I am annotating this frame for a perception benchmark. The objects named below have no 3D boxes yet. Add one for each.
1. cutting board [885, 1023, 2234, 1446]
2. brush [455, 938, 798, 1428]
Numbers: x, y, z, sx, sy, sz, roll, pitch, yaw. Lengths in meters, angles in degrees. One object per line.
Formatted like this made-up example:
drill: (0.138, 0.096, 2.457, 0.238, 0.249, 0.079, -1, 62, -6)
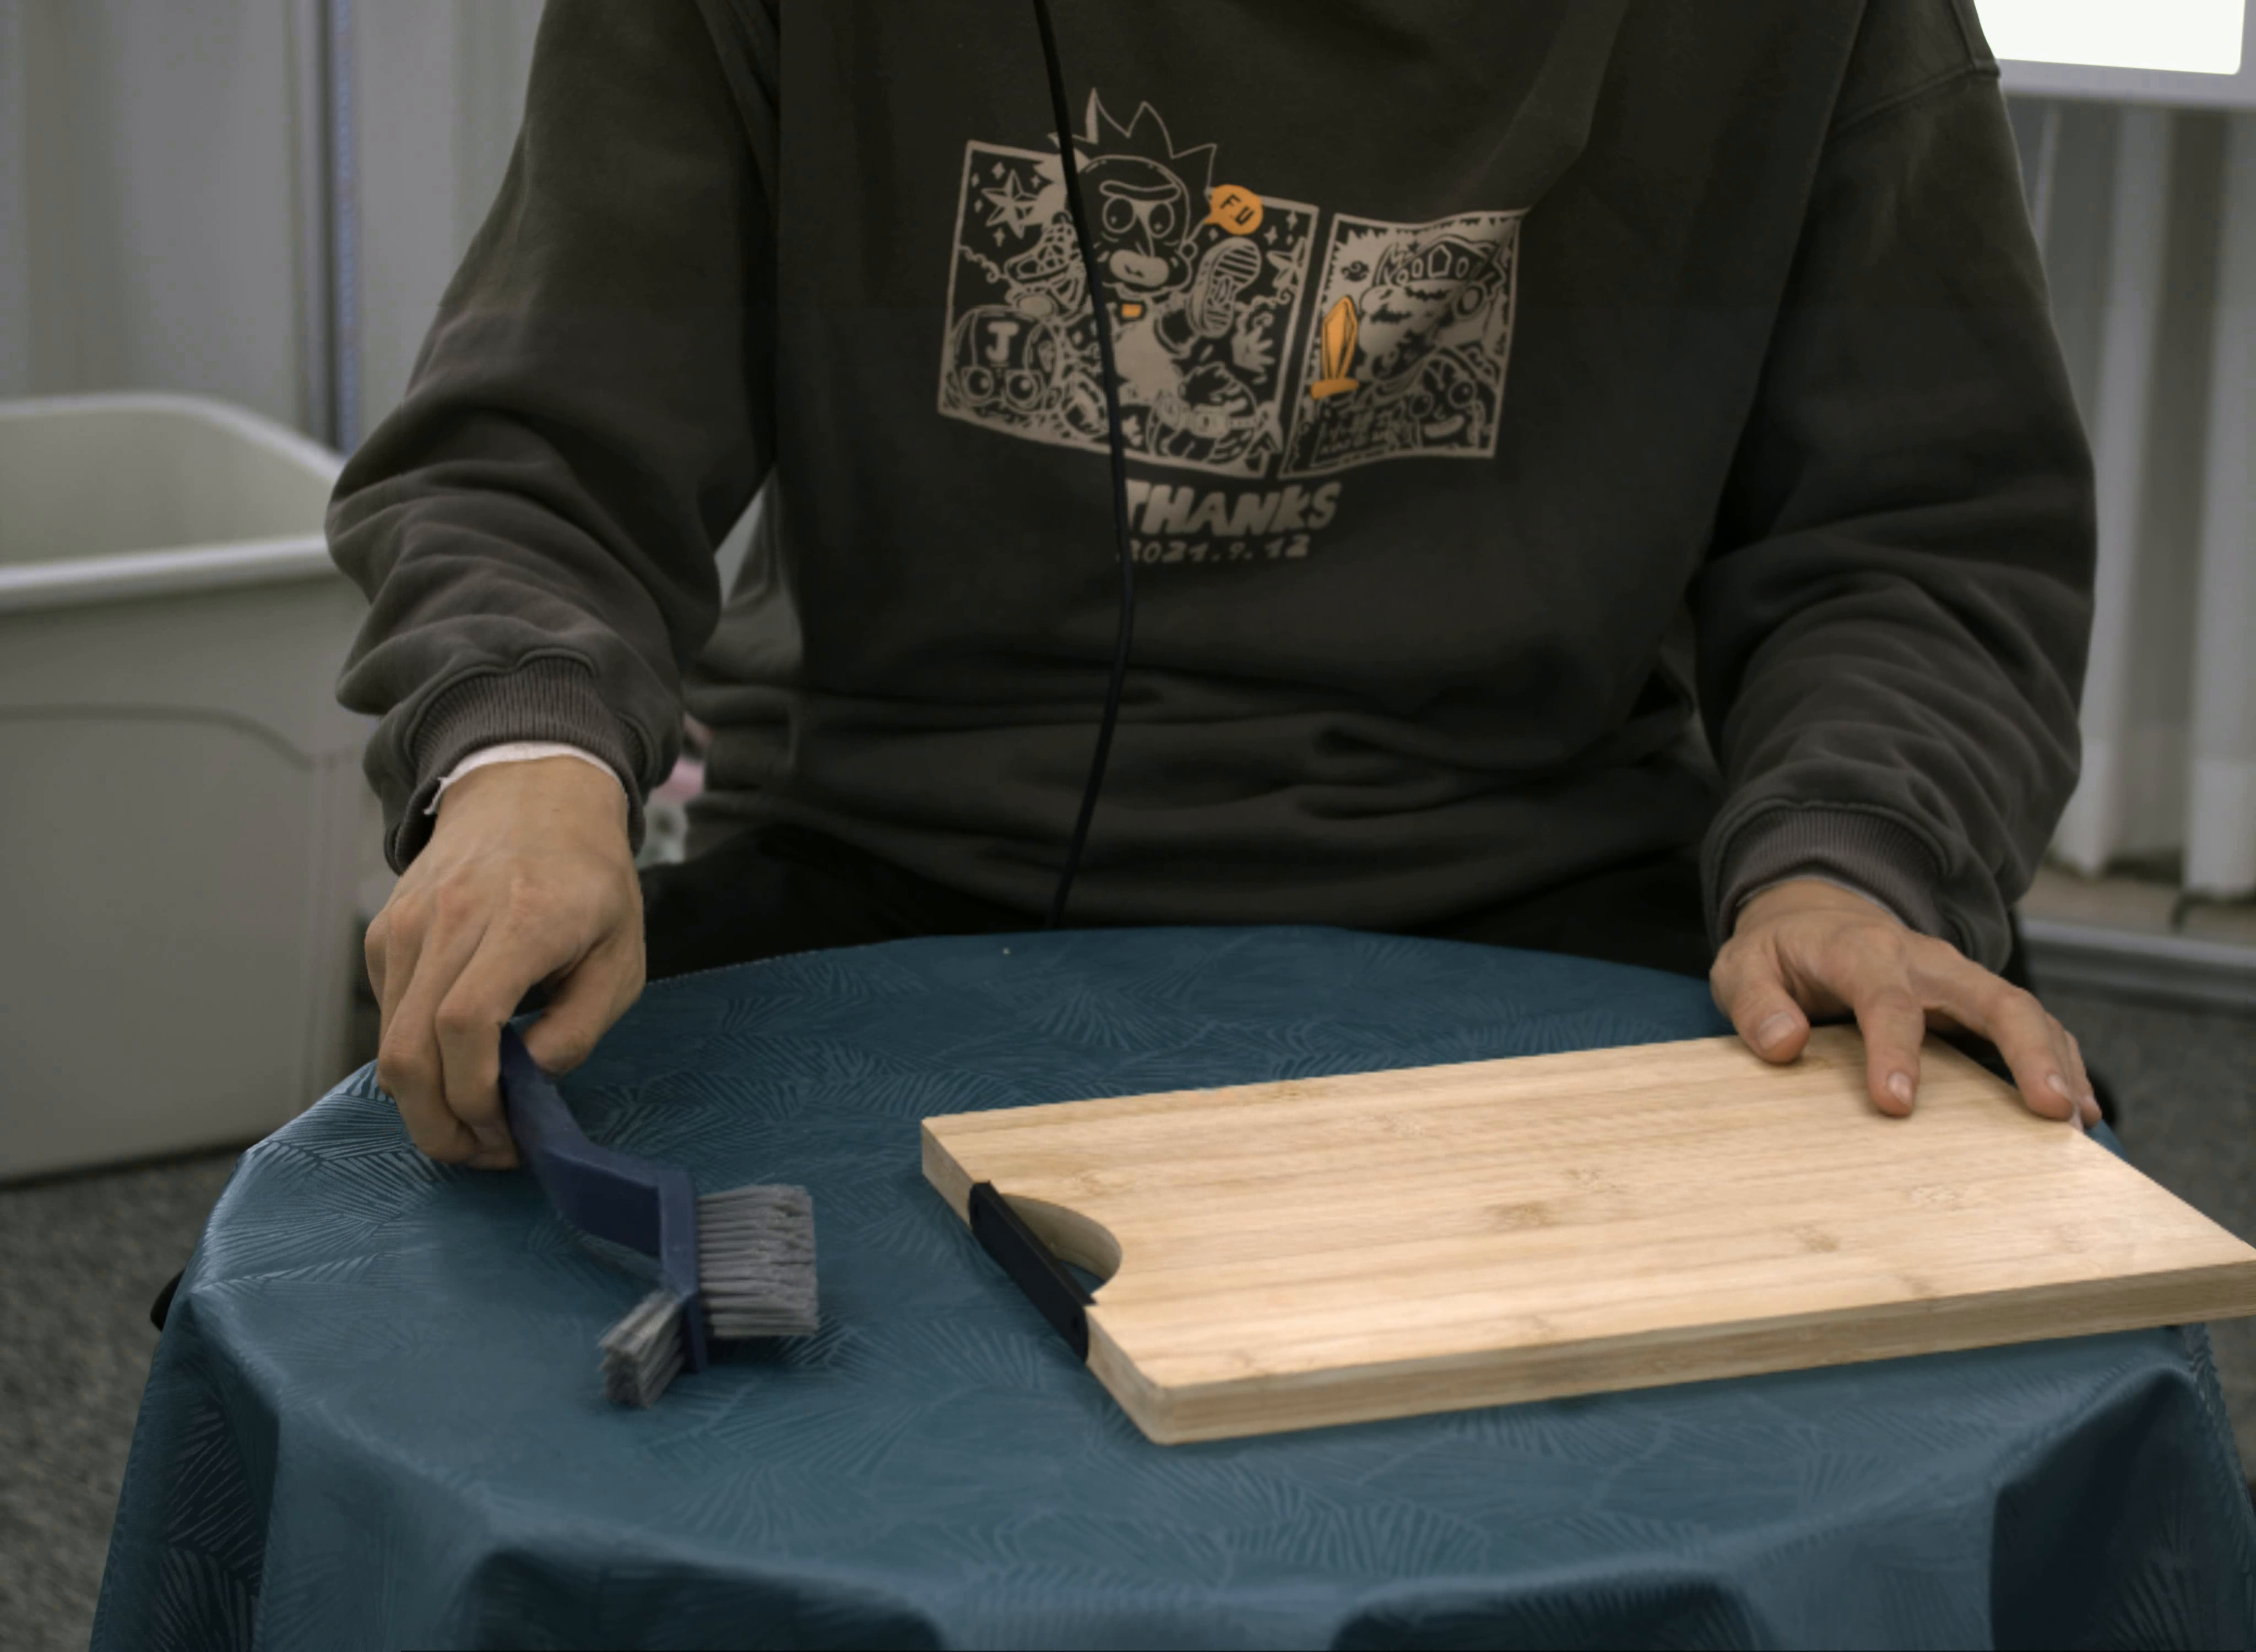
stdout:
cutting board: (0.125, 0.118, 1.586, 0.349, 0.024, 0.248, -5, 16, -19)
brush: (-0.174, 0.101, 1.576, 0.096, 0.034, 0.269, -17, 26, -25)
